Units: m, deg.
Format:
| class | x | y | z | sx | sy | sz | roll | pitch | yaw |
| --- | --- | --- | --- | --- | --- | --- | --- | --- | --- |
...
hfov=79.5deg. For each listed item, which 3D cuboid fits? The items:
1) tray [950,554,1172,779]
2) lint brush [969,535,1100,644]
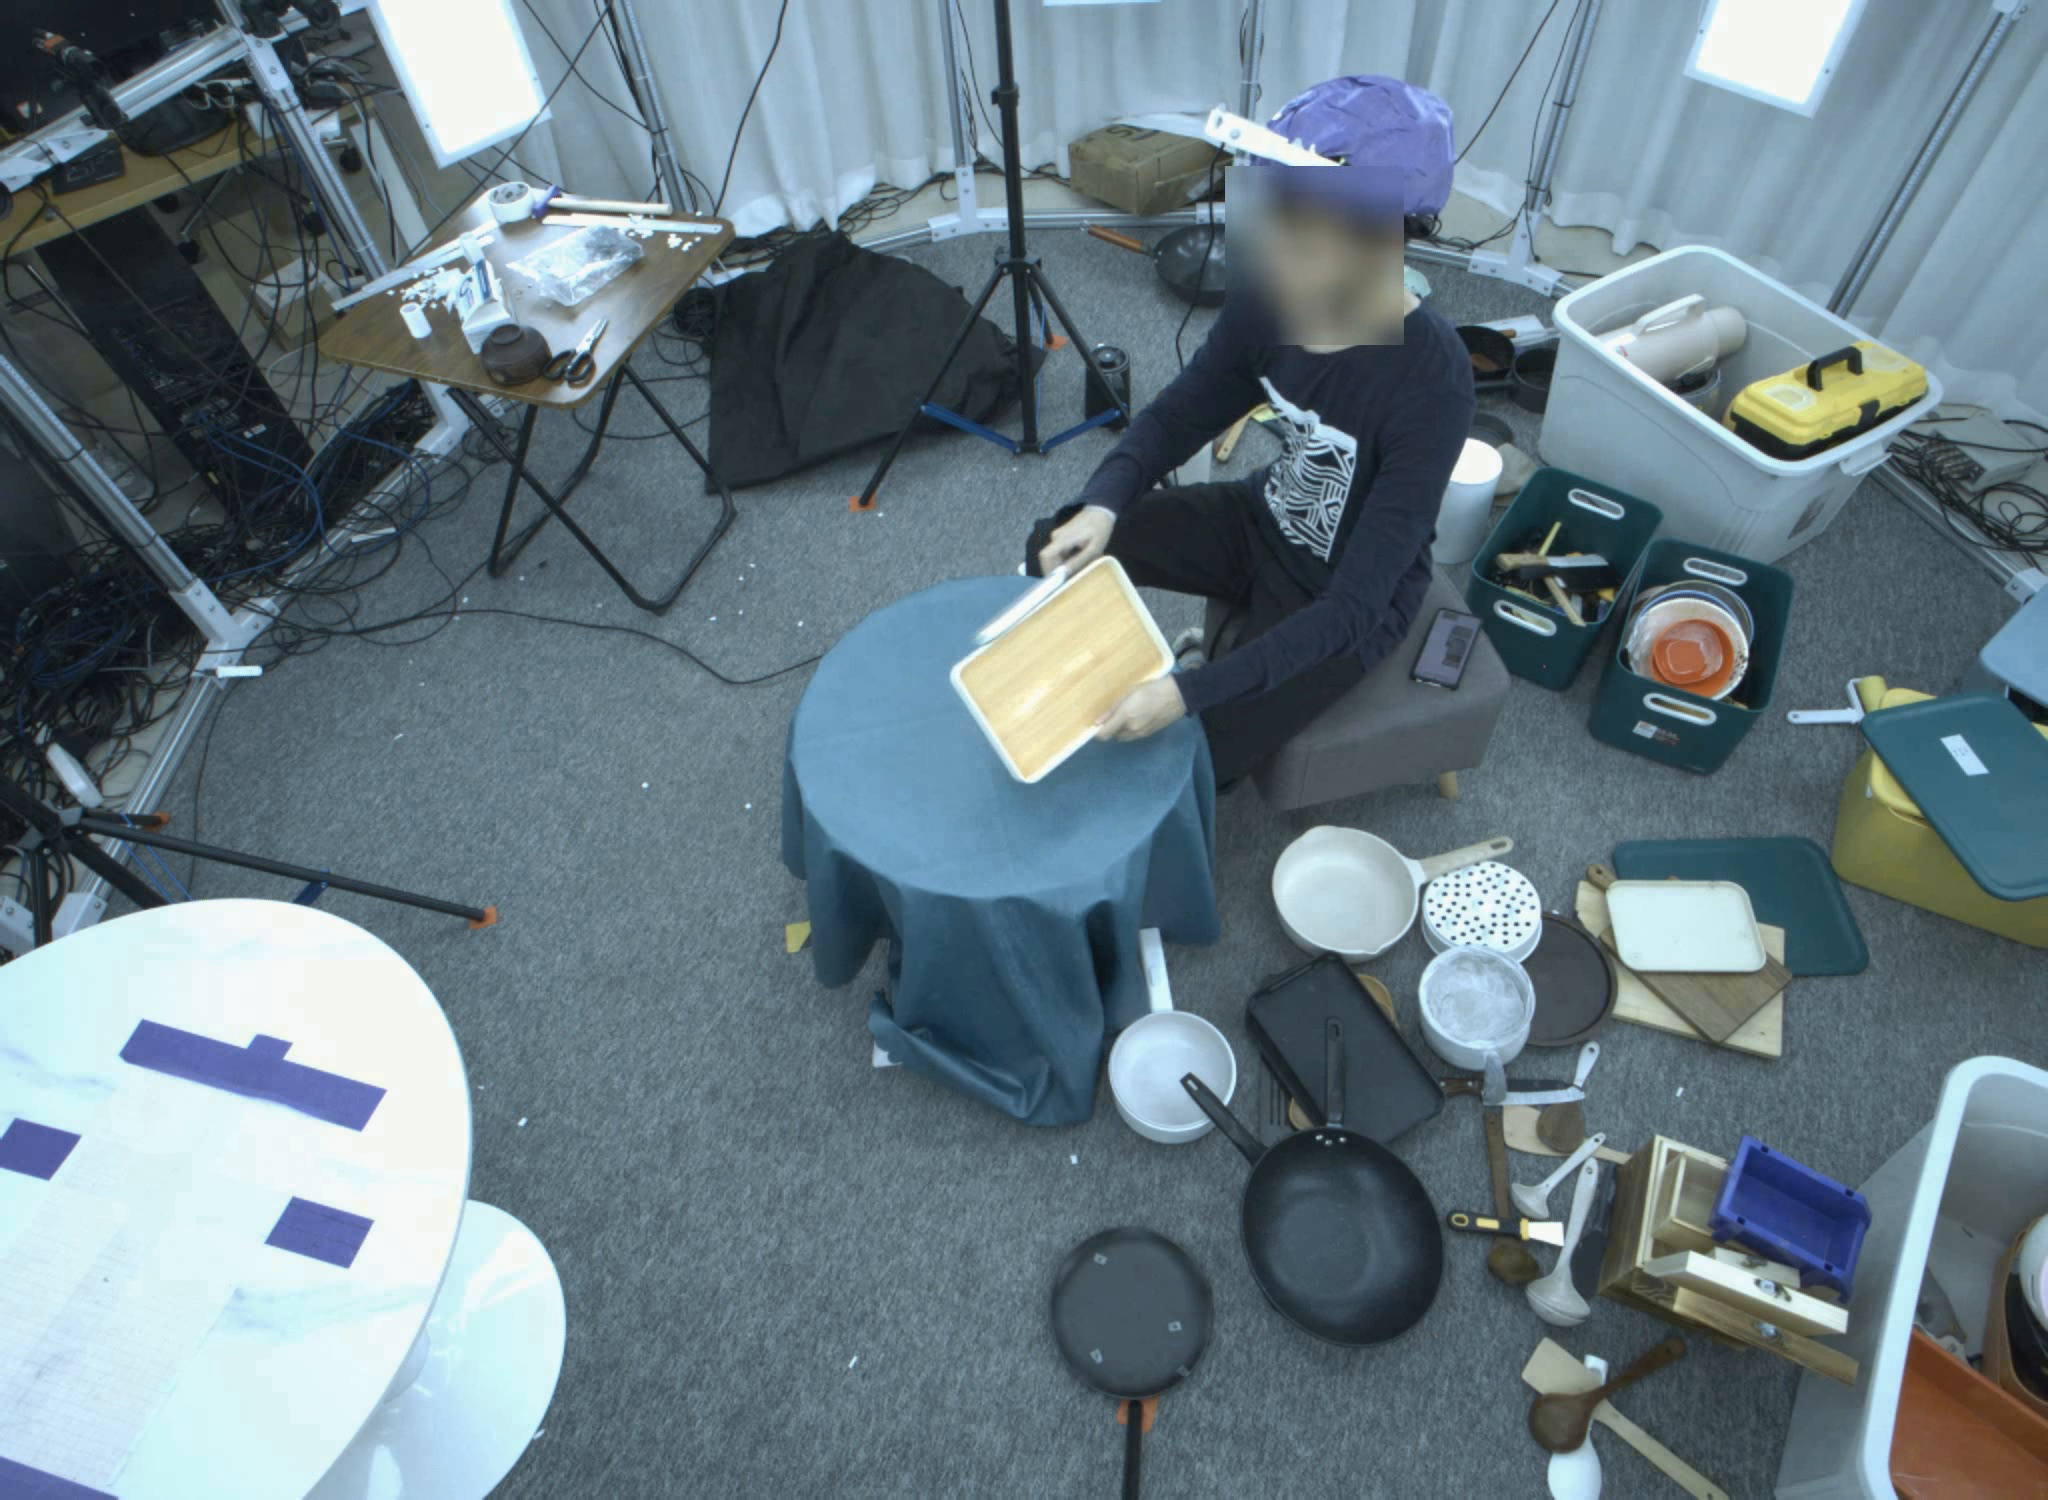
| class | x | y | z | sx | sy | sz | roll | pitch | yaw |
| --- | --- | --- | --- | --- | --- | --- | --- | --- | --- |
| tray | 0.057 | -0.117 | 1.693 | 0.302 | 0.194 | 0.027 | -39 | 18 | -23 |
| lint brush | 0.021 | -0.229 | 1.706 | 0.021 | 0.059 | 0.311 | 52 | 48 | -8 |
